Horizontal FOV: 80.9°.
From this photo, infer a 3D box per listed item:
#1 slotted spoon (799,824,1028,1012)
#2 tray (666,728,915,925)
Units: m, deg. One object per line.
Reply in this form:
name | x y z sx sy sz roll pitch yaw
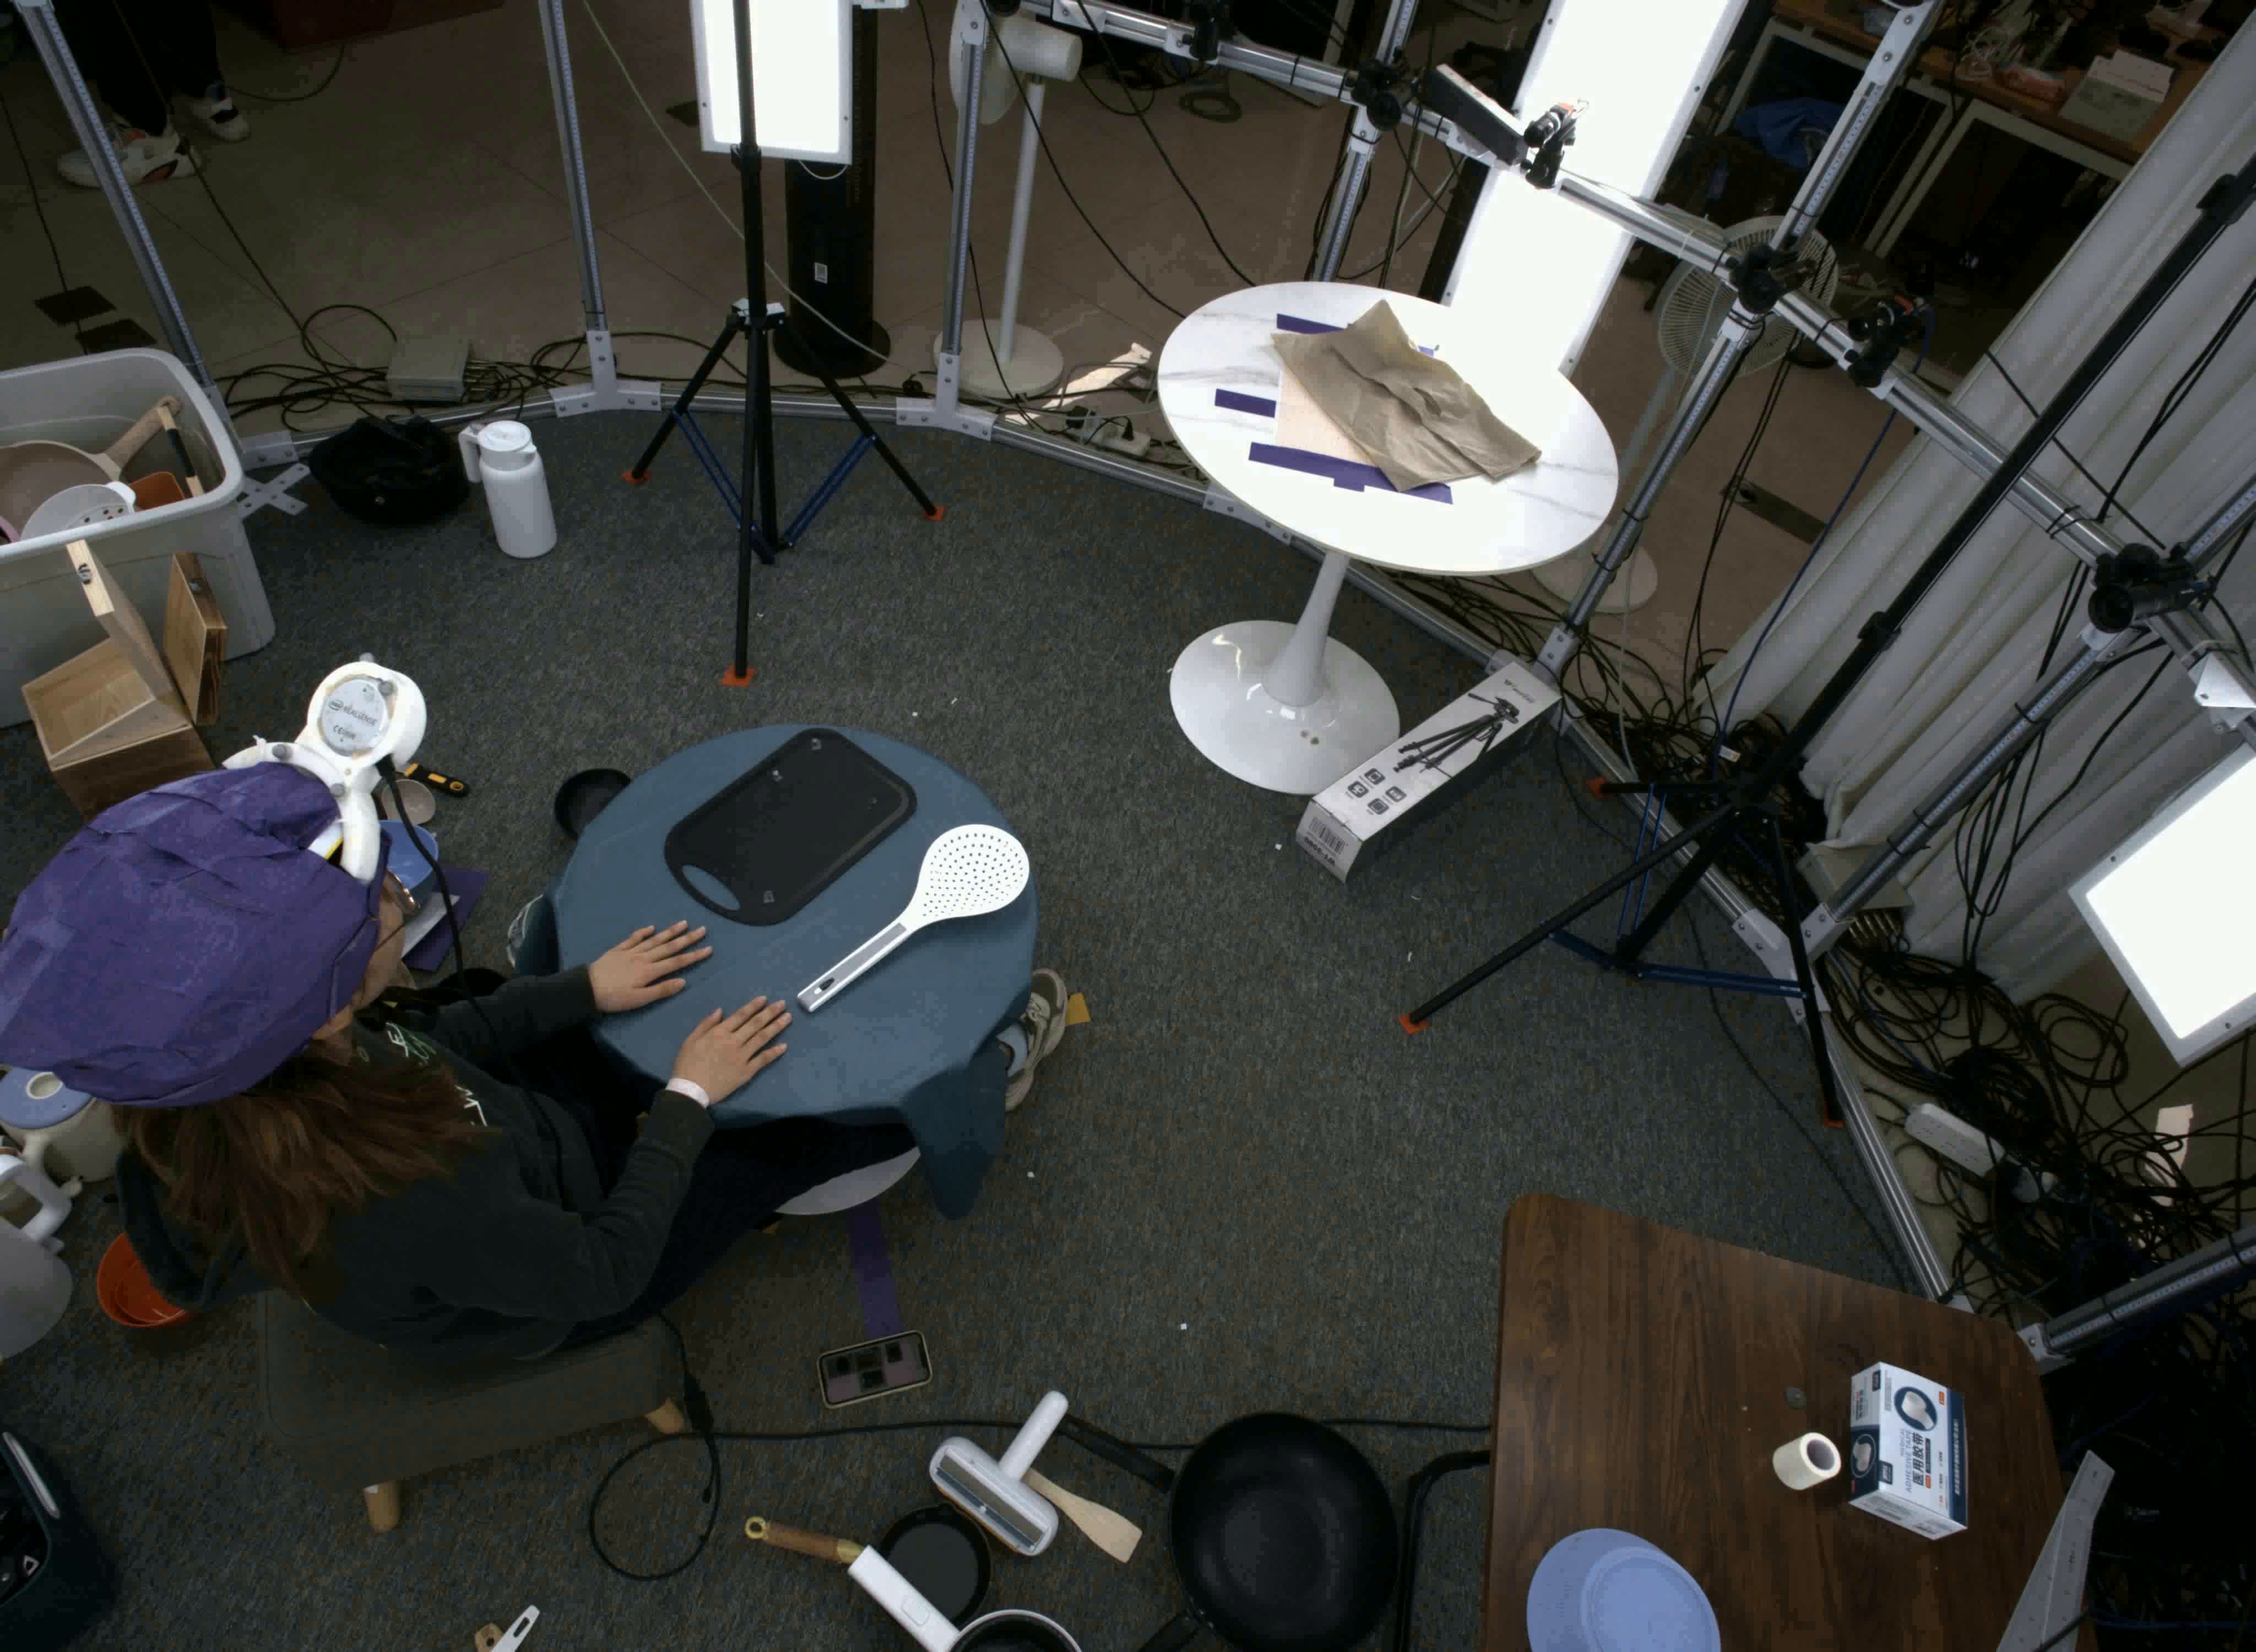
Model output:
slotted spoon | -0.273 0.117 1.652 0.133 0.047 0.350 40 55 19
tray | -0.449 -0.004 1.721 0.207 0.010 0.325 36 54 13
